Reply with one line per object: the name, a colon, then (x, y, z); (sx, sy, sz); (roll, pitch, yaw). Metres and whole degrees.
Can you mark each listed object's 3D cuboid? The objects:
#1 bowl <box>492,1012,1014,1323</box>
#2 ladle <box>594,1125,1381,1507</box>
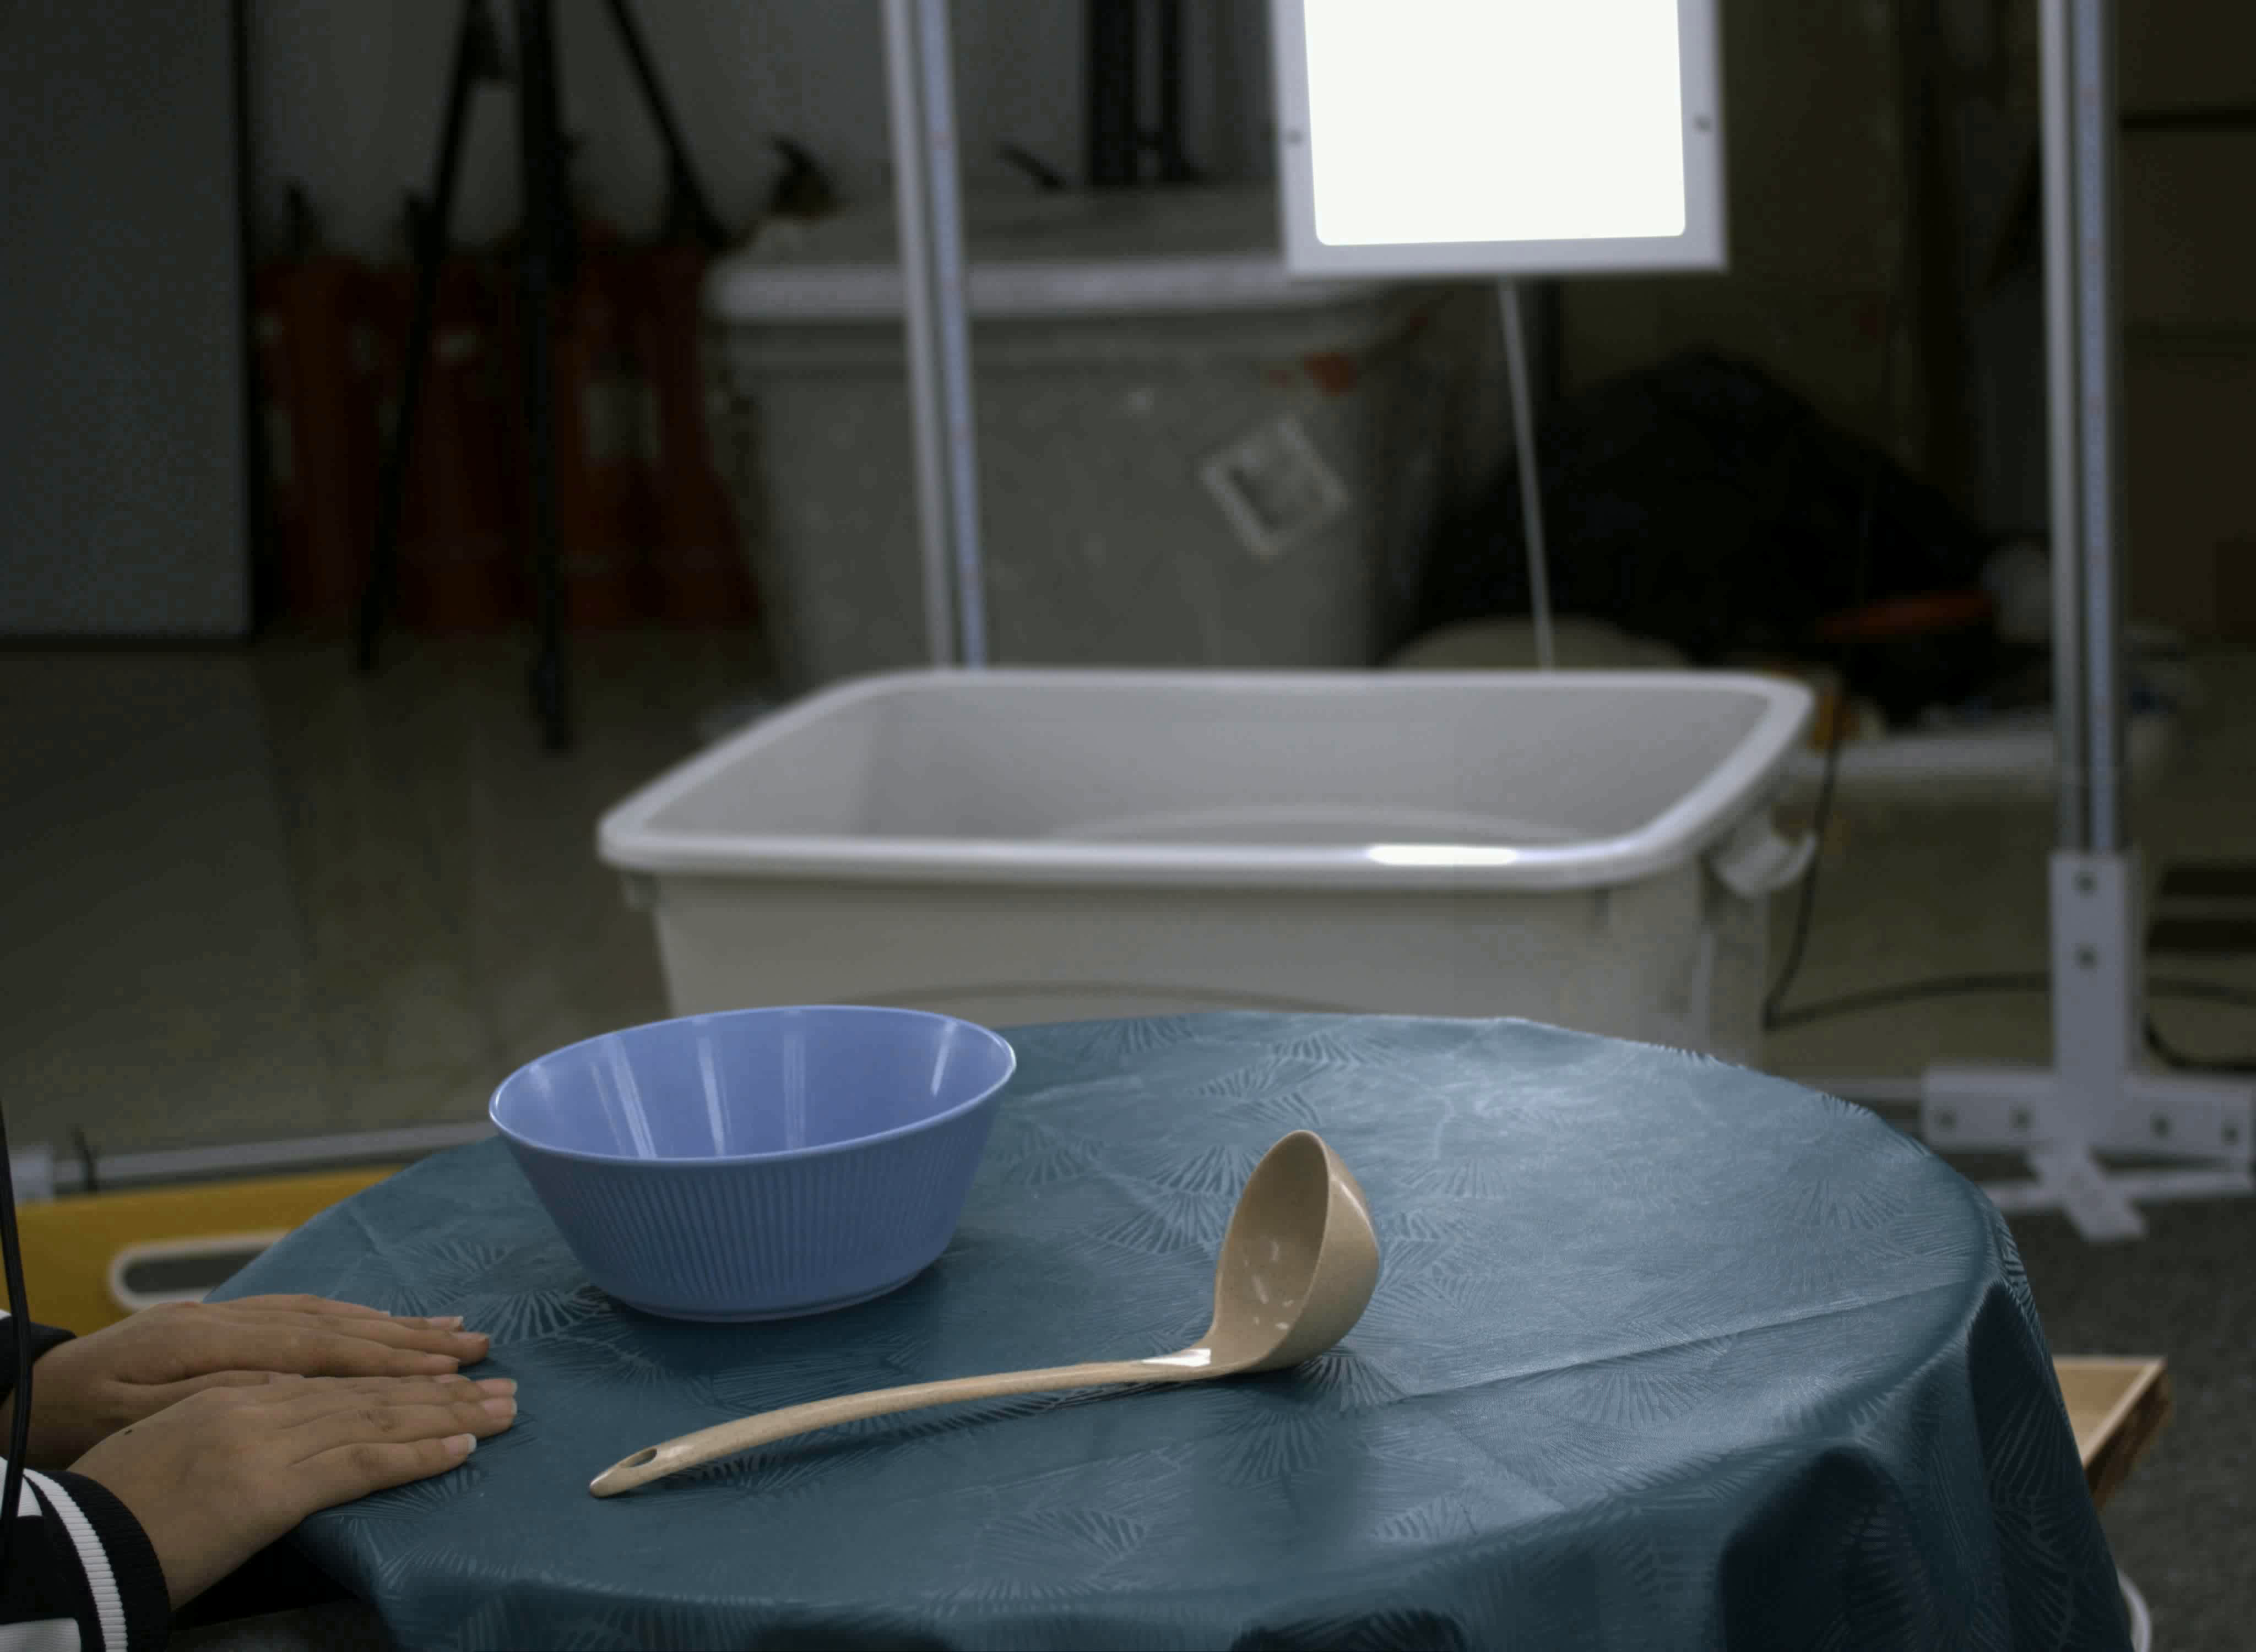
bowl: (-0.122, 0.116, 1.839); (0.175, 0.070, 0.176); (-5, 13, 0)
ladle: (-0.044, 0.147, 1.678); (0.250, 0.073, 0.073); (-10, 14, -18)
